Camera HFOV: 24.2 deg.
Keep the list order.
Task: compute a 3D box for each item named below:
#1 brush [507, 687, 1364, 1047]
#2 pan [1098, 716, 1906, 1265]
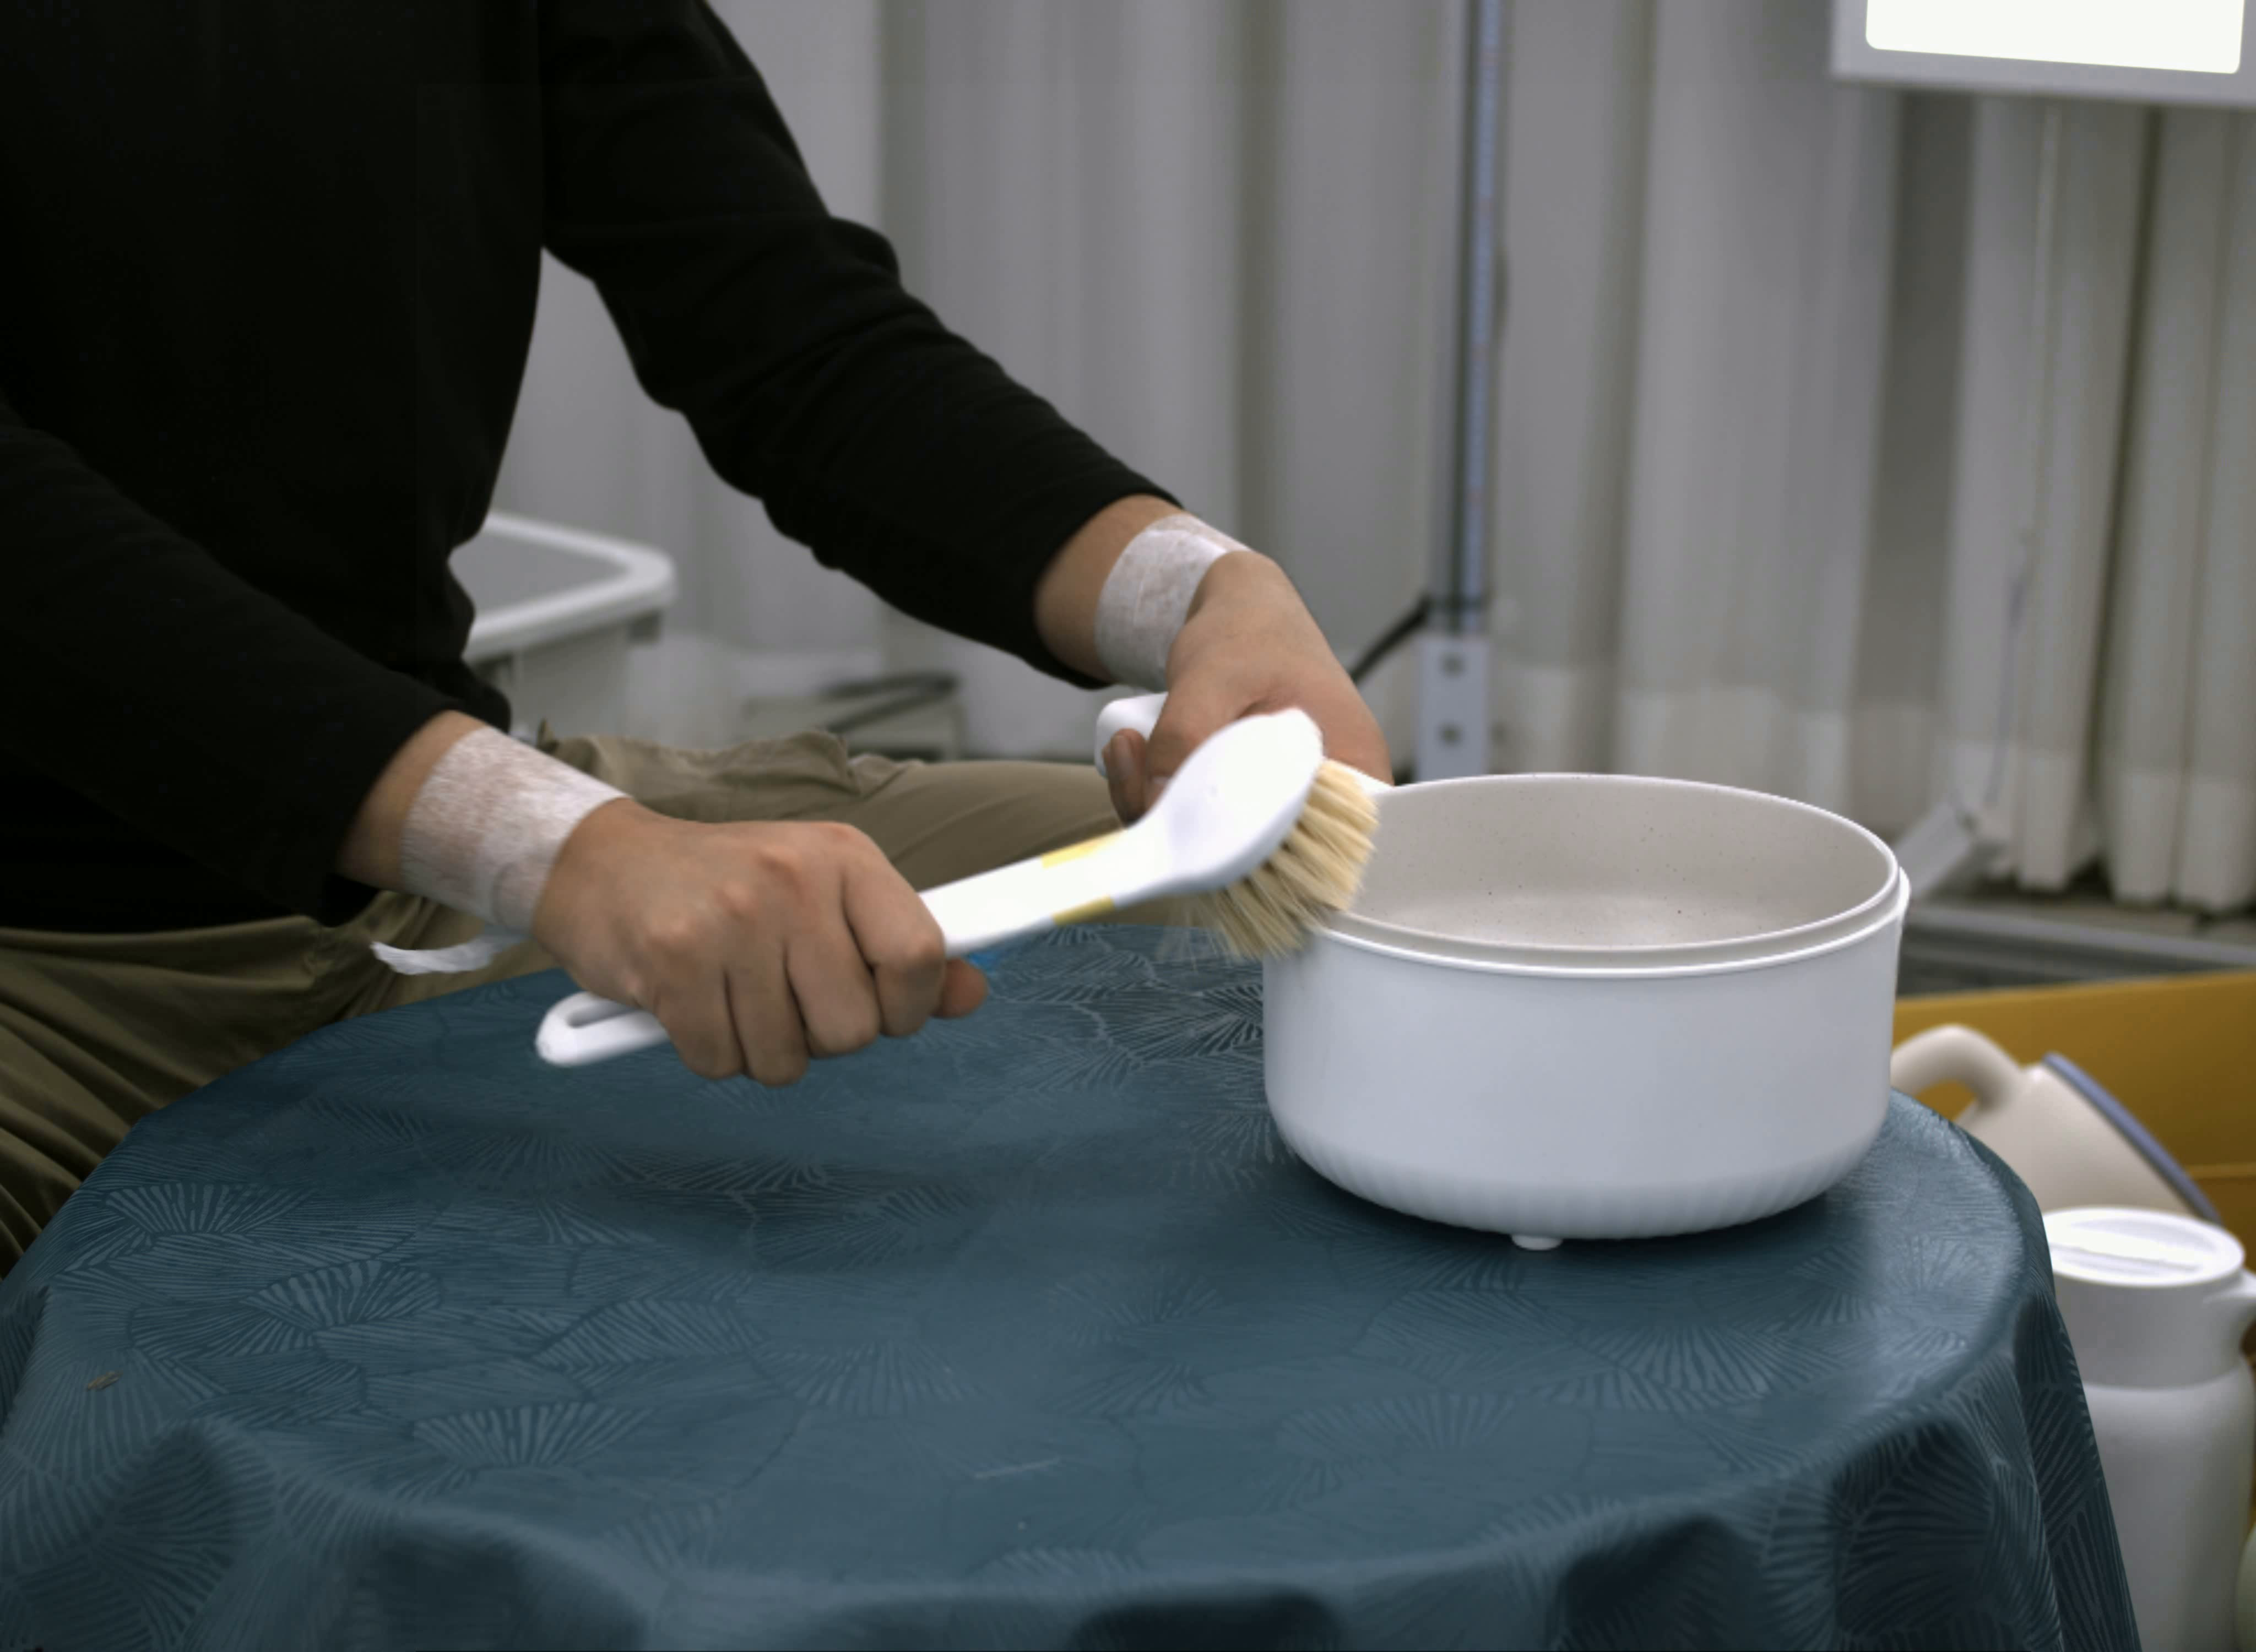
[{"bbox_3d":[-0.056,0.031,1.595,0.265,0.057,0.068,-21,32,4],"label":"brush"},{"bbox_3d":[0.098,0.046,1.694,0.202,0.103,0.350,-12,19,-31],"label":"pan"}]
